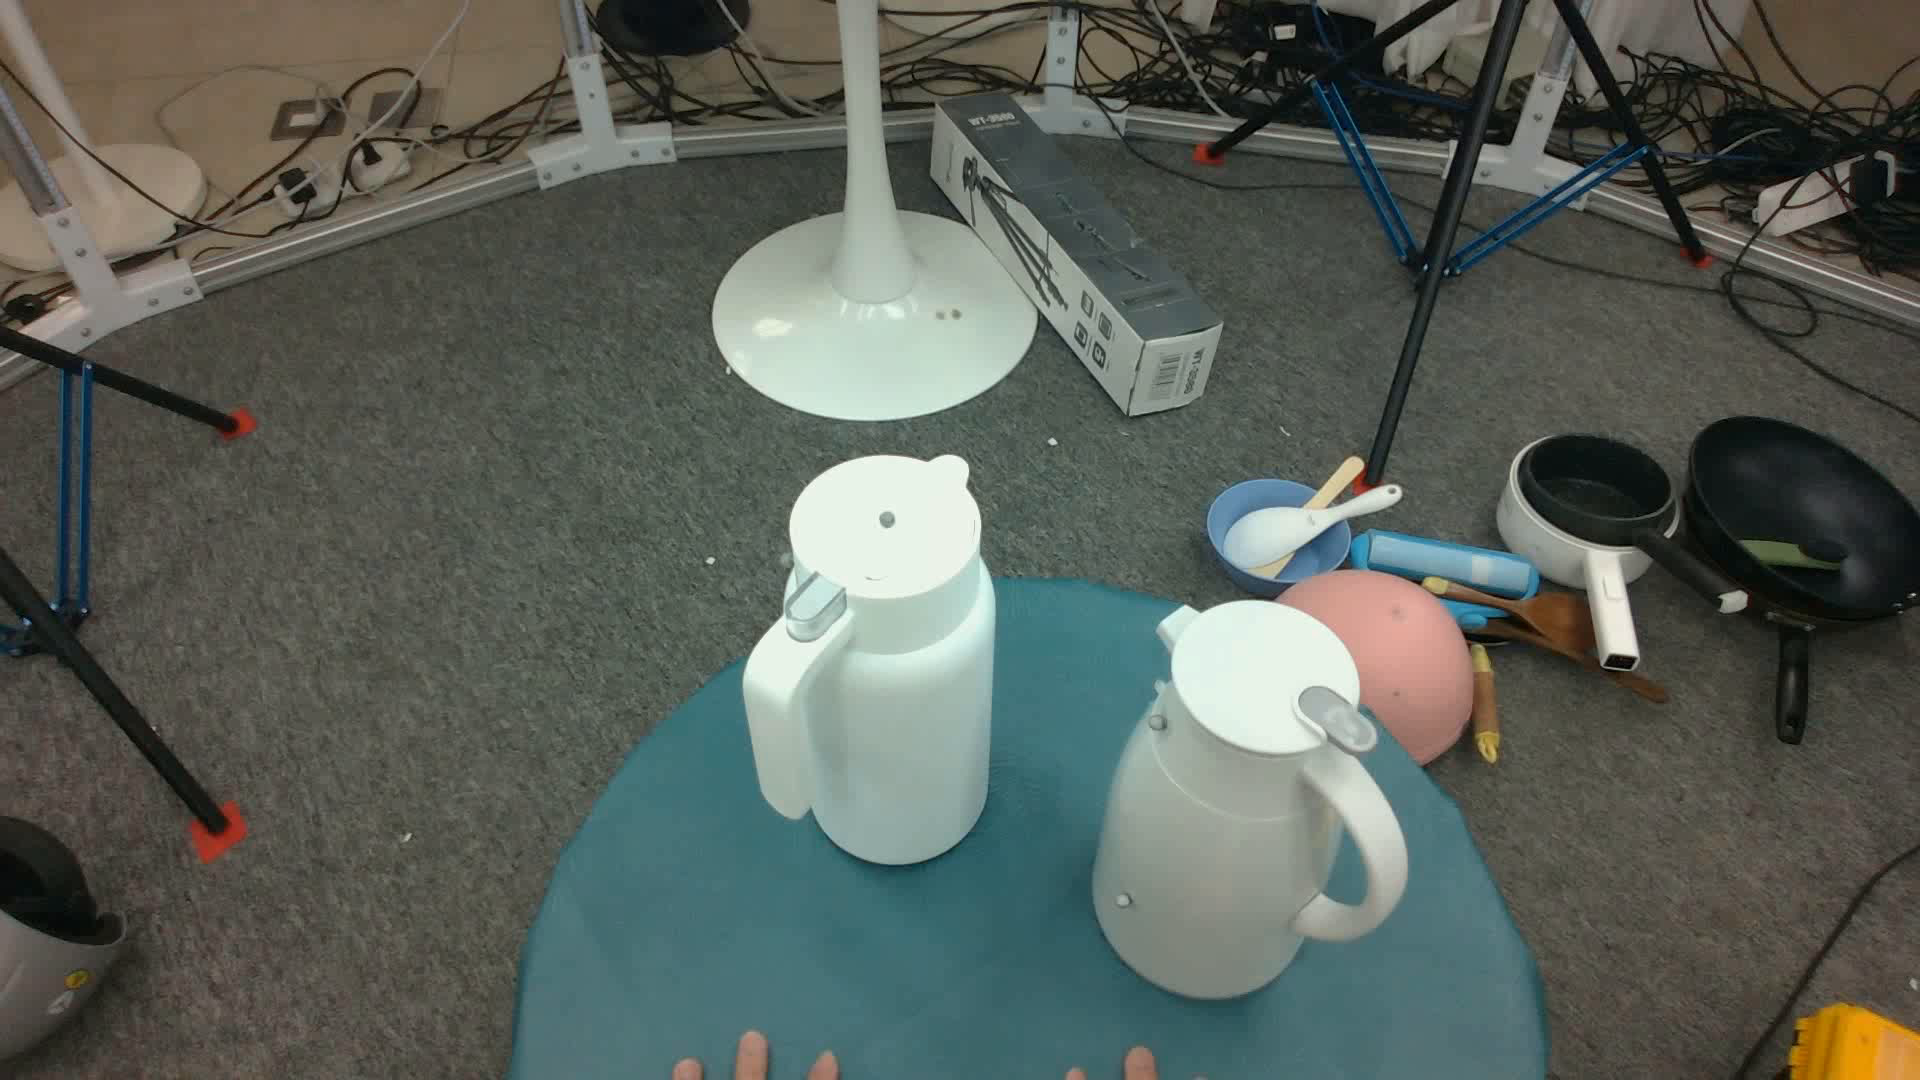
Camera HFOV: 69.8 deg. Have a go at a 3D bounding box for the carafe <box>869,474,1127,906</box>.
[{"bbox_3d":[0.023,0.111,0.786,0.124,0.267,0.173,18,54,23],"label":"carafe"}]

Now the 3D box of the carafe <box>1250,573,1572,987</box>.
[{"bbox_3d":[0.238,0.134,0.734,0.168,0.247,0.133,33,61,33],"label":"carafe"}]
